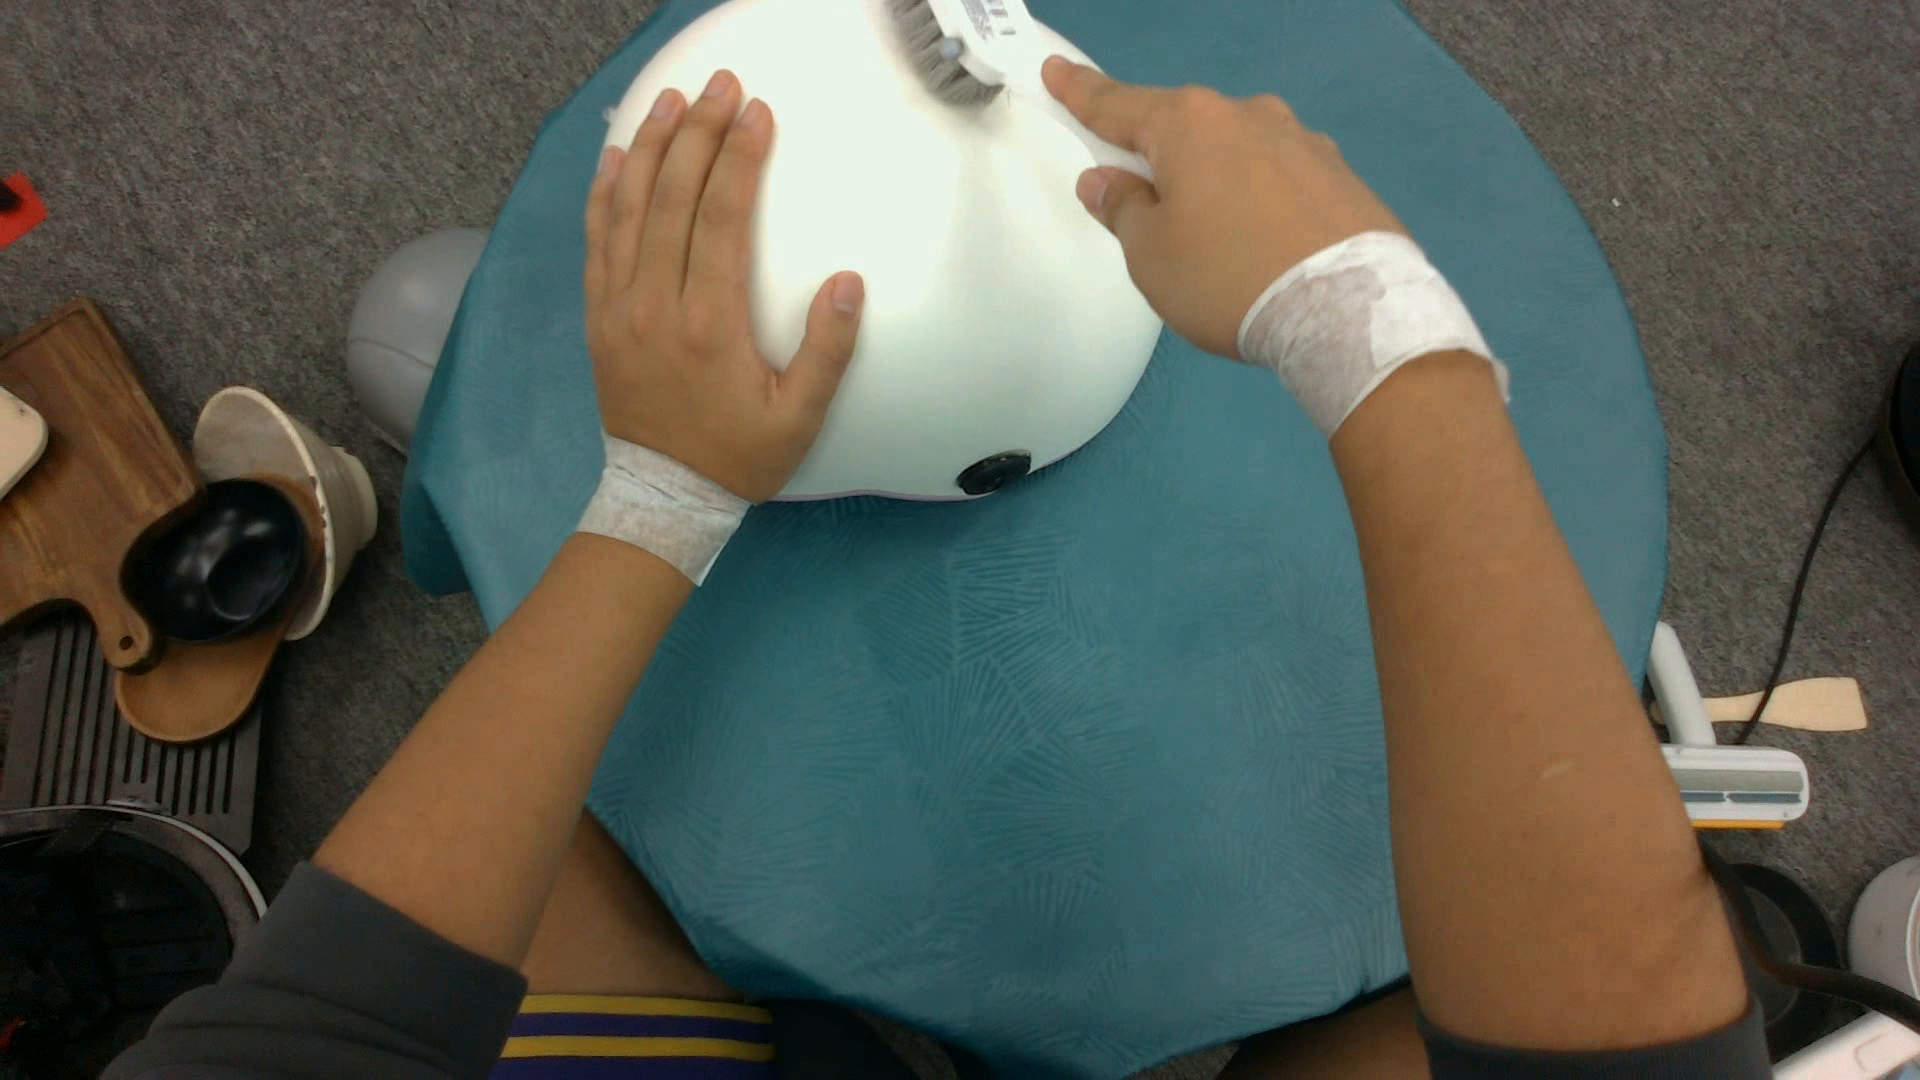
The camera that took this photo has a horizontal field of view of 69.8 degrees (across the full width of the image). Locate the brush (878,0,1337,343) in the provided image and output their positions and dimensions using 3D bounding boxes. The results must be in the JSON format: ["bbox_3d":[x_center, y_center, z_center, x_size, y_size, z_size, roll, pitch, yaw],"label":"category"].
[{"bbox_3d":[0.041,-0.144,0.489,0.034,0.050,0.244,-21,64,-33],"label":"brush"}]

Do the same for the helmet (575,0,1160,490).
[{"bbox_3d":[-0.034,-0.149,0.602,0.269,0.166,0.237,-9,75,-10],"label":"helmet"}]
